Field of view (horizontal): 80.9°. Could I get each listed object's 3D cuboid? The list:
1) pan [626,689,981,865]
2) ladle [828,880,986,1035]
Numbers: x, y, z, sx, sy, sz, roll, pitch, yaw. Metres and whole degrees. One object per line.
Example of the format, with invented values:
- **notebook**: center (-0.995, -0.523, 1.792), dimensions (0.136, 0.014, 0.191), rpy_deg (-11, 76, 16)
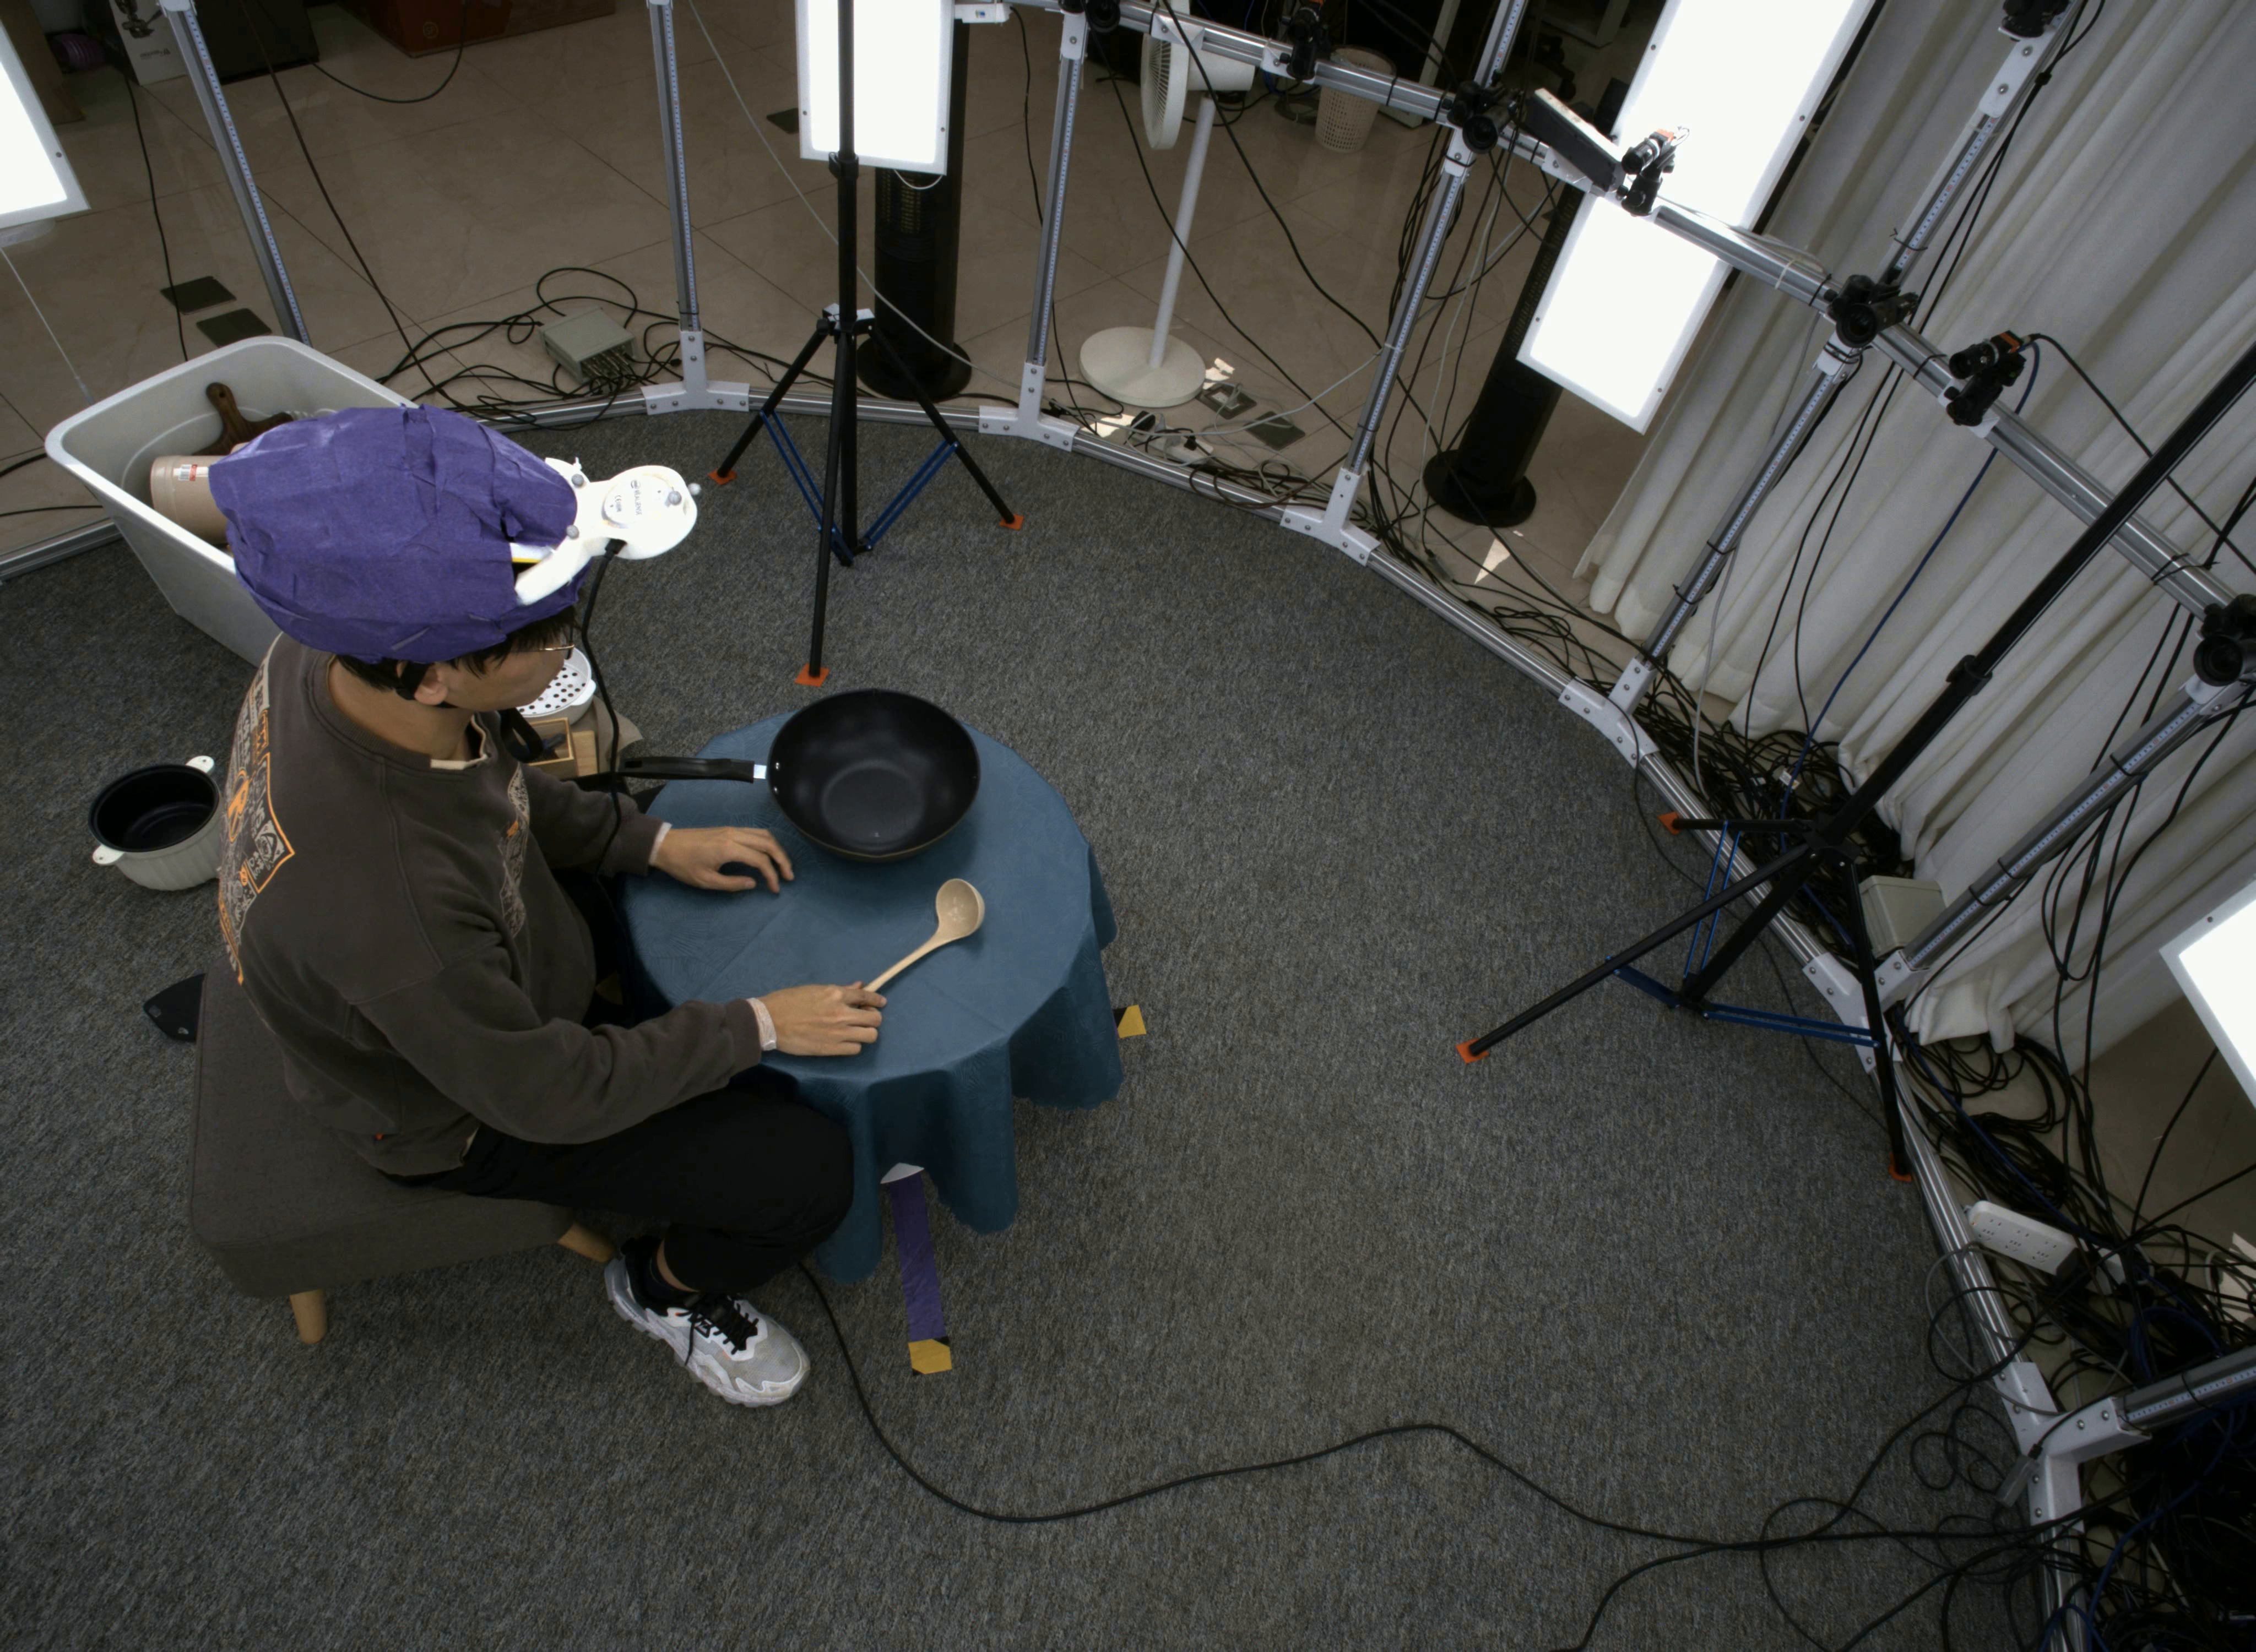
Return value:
- **pan**: center (-0.426, -0.052, 1.723), dimensions (0.463, 0.089, 0.282), rpy_deg (0, 55, -12)
- **ladle**: center (-0.276, 0.156, 1.609), dimensions (0.070, 0.075, 0.255), rpy_deg (34, 50, 21)
